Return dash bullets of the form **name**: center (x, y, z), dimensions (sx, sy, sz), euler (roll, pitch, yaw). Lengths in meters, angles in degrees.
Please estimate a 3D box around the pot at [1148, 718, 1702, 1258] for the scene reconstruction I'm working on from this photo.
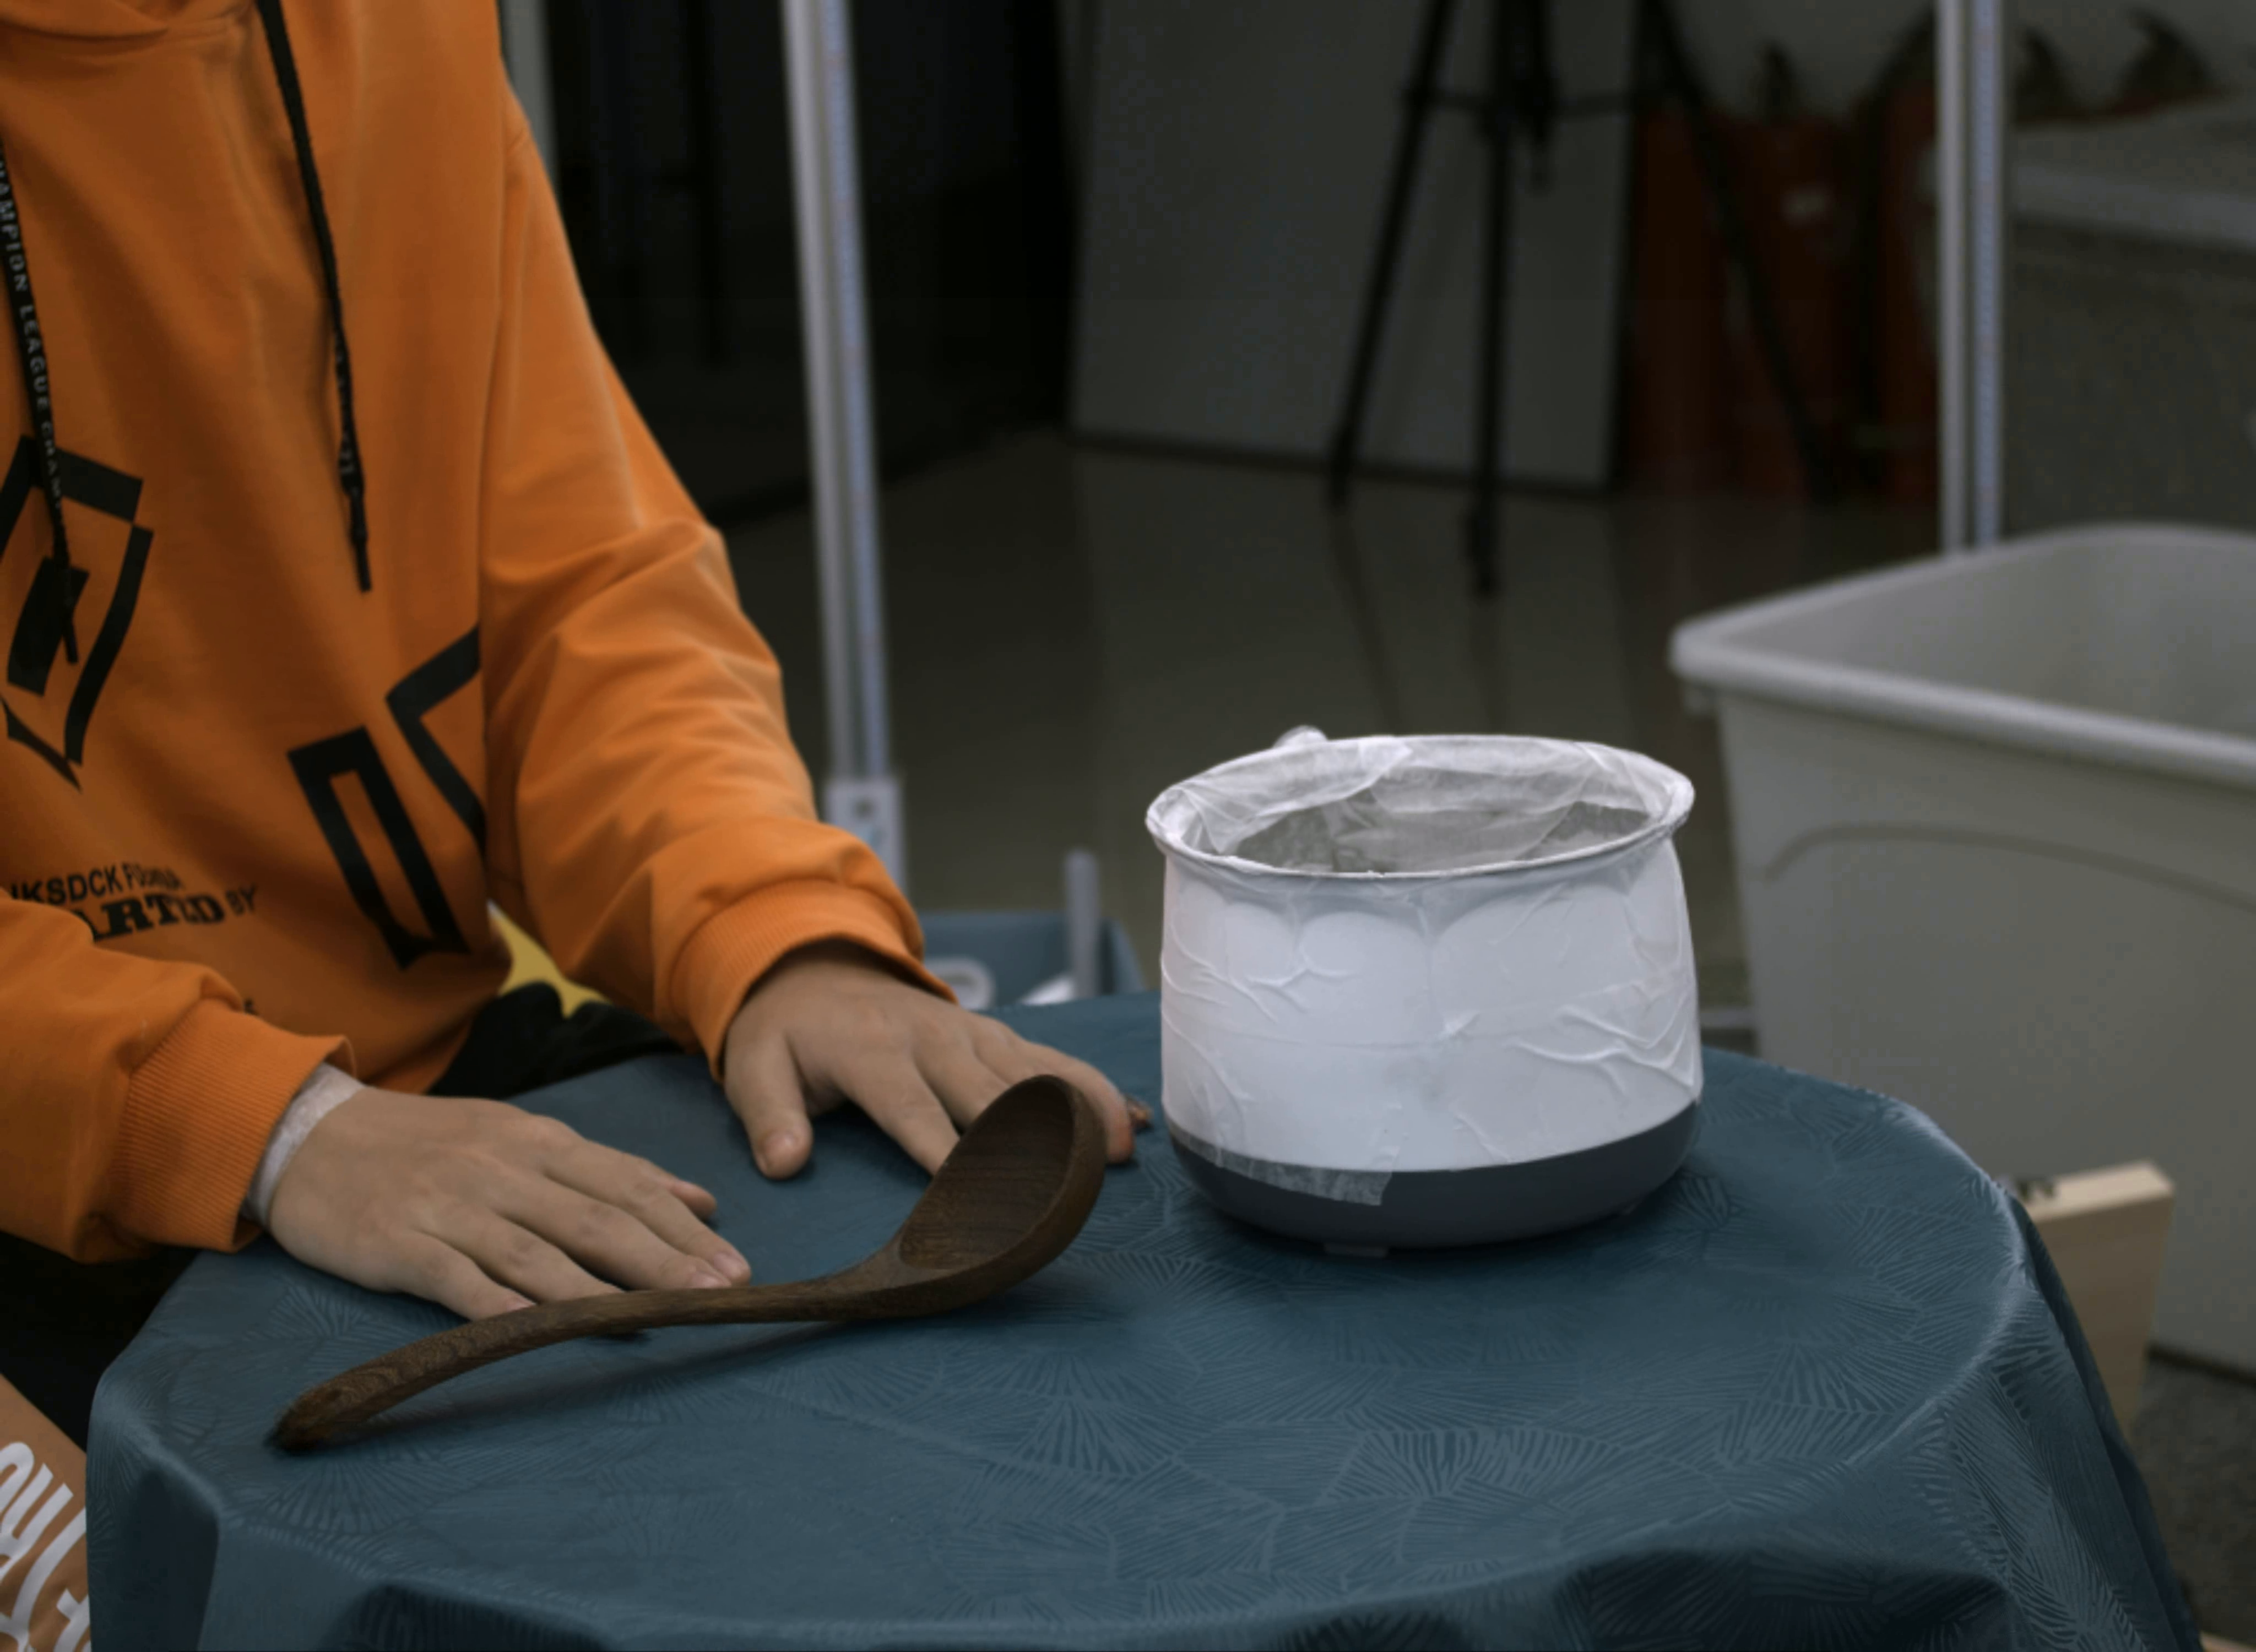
- **pot**: center (0.086, 0.046, 1.759), dimensions (0.175, 0.138, 0.236), euler (-8, 15, -20)

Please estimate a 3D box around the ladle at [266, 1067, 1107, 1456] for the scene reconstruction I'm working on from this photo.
- **ladle**: center (-0.131, 0.129, 1.632), dimensions (0.268, 0.072, 0.077), euler (-9, 9, -23)
